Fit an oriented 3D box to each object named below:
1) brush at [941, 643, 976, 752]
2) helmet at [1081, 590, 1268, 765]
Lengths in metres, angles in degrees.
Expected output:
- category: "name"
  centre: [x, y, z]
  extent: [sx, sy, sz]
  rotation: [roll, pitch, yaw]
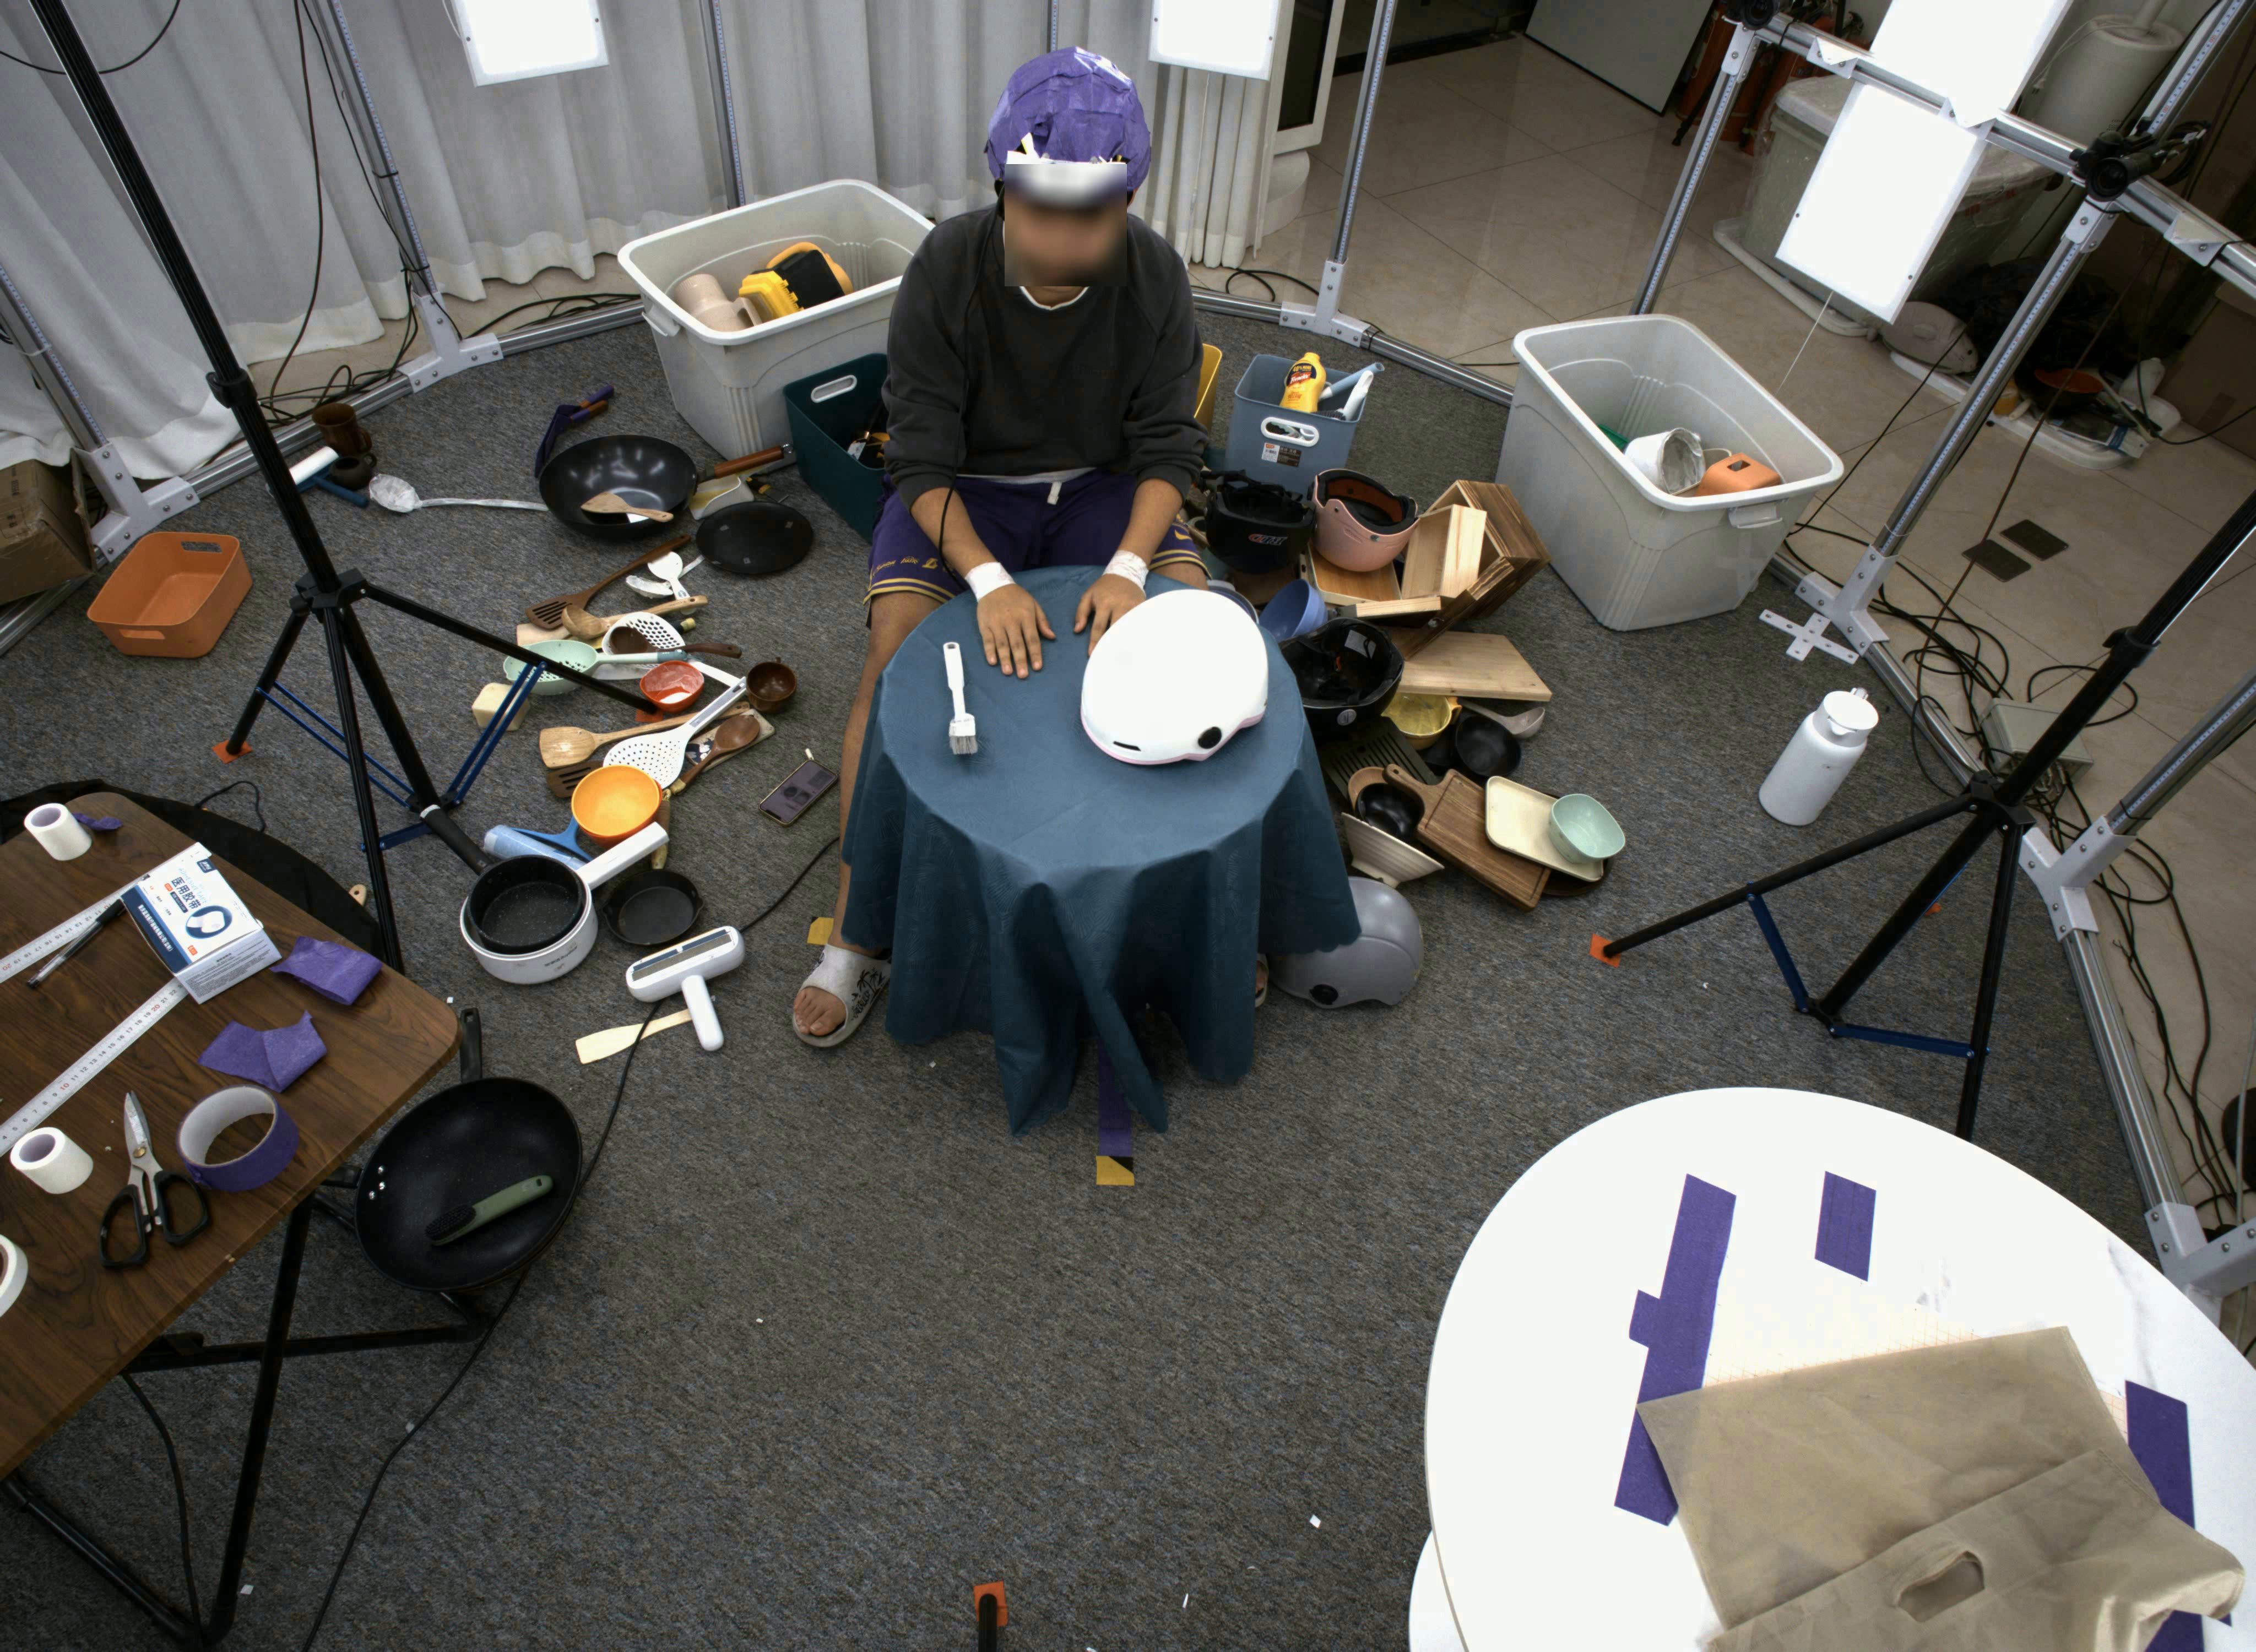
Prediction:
- category: "brush"
  centre: [-0.238, -0.177, 1.789]
  extent: [0.034, 0.049, 0.249]
  rotation: [-6, 37, -10]
- category: "helmet"
  centre: [0.068, -0.219, 1.756]
  extent: [0.270, 0.163, 0.242]
  rotation: [-25, 55, -23]
